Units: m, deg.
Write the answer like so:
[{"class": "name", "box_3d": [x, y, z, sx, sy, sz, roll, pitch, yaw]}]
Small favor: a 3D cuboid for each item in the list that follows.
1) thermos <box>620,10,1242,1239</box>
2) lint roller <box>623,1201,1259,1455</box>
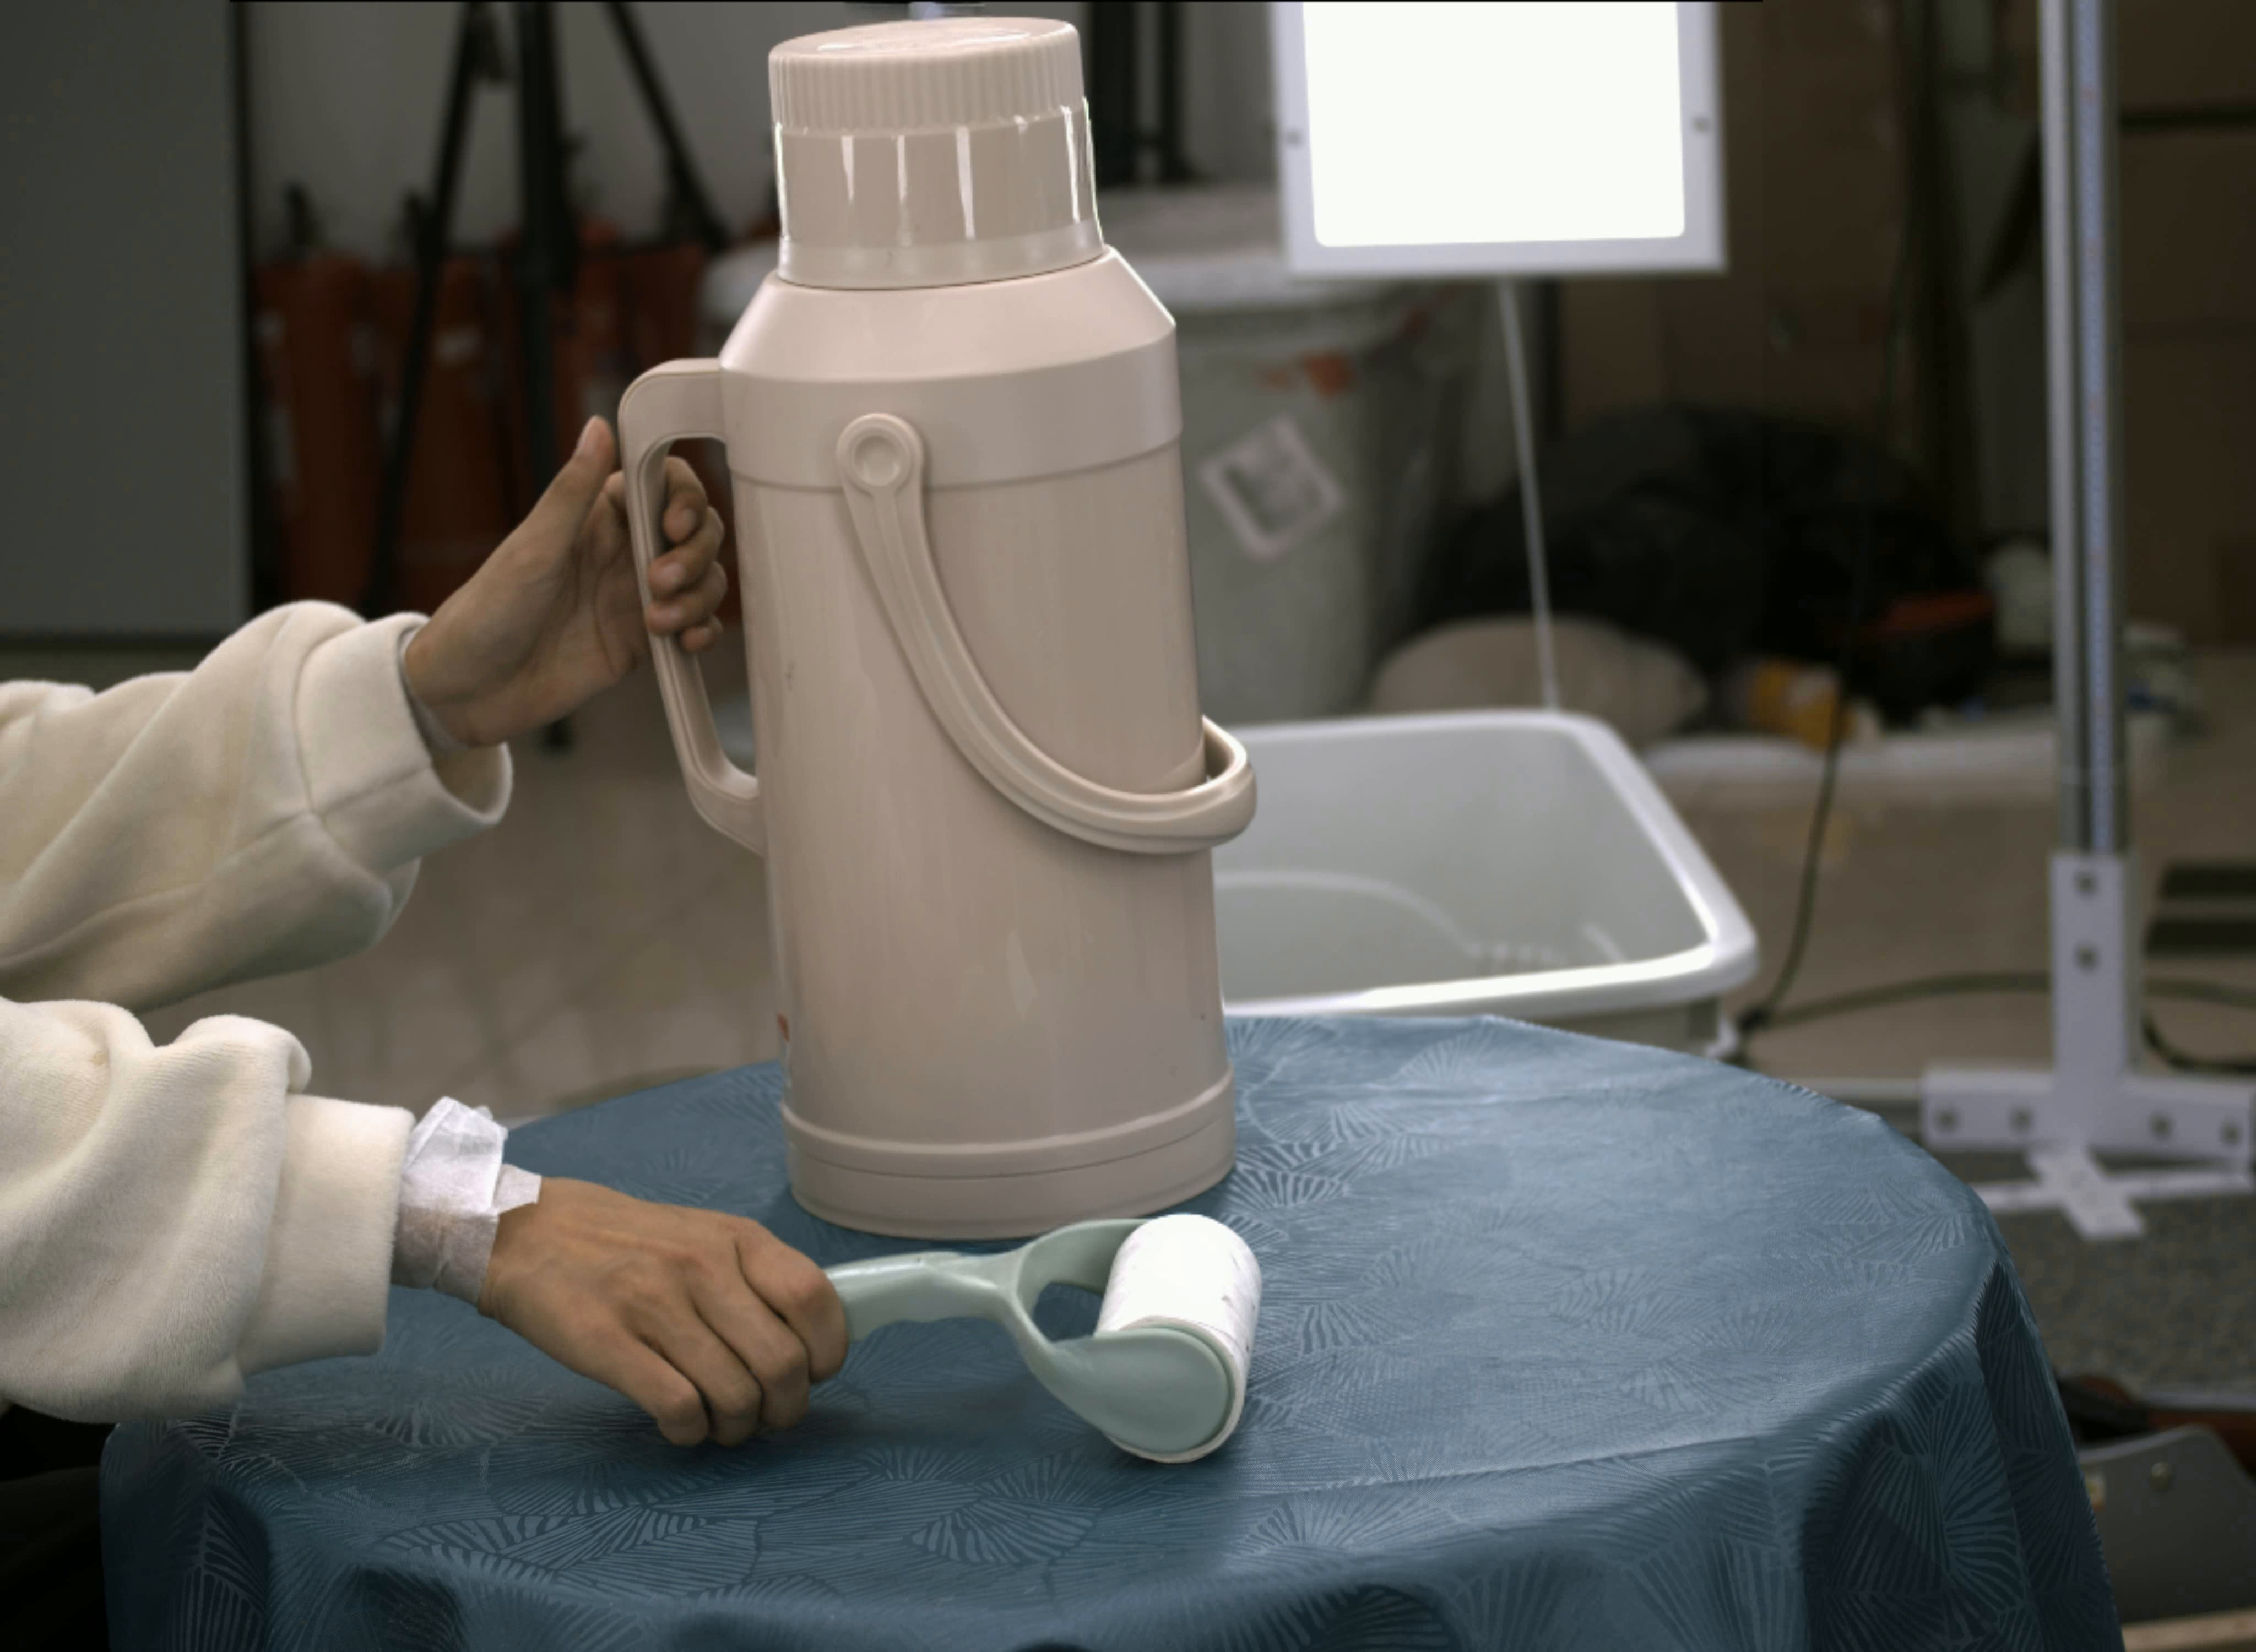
[{"class": "thermos", "box_3d": [-0.067, -0.070, 1.892, 0.209, 0.408, 0.173, -1, 15, 17]}, {"class": "lint roller", "box_3d": [-0.057, 0.153, 1.695, 0.198, 0.049, 0.116, 0, 16, 7]}]
